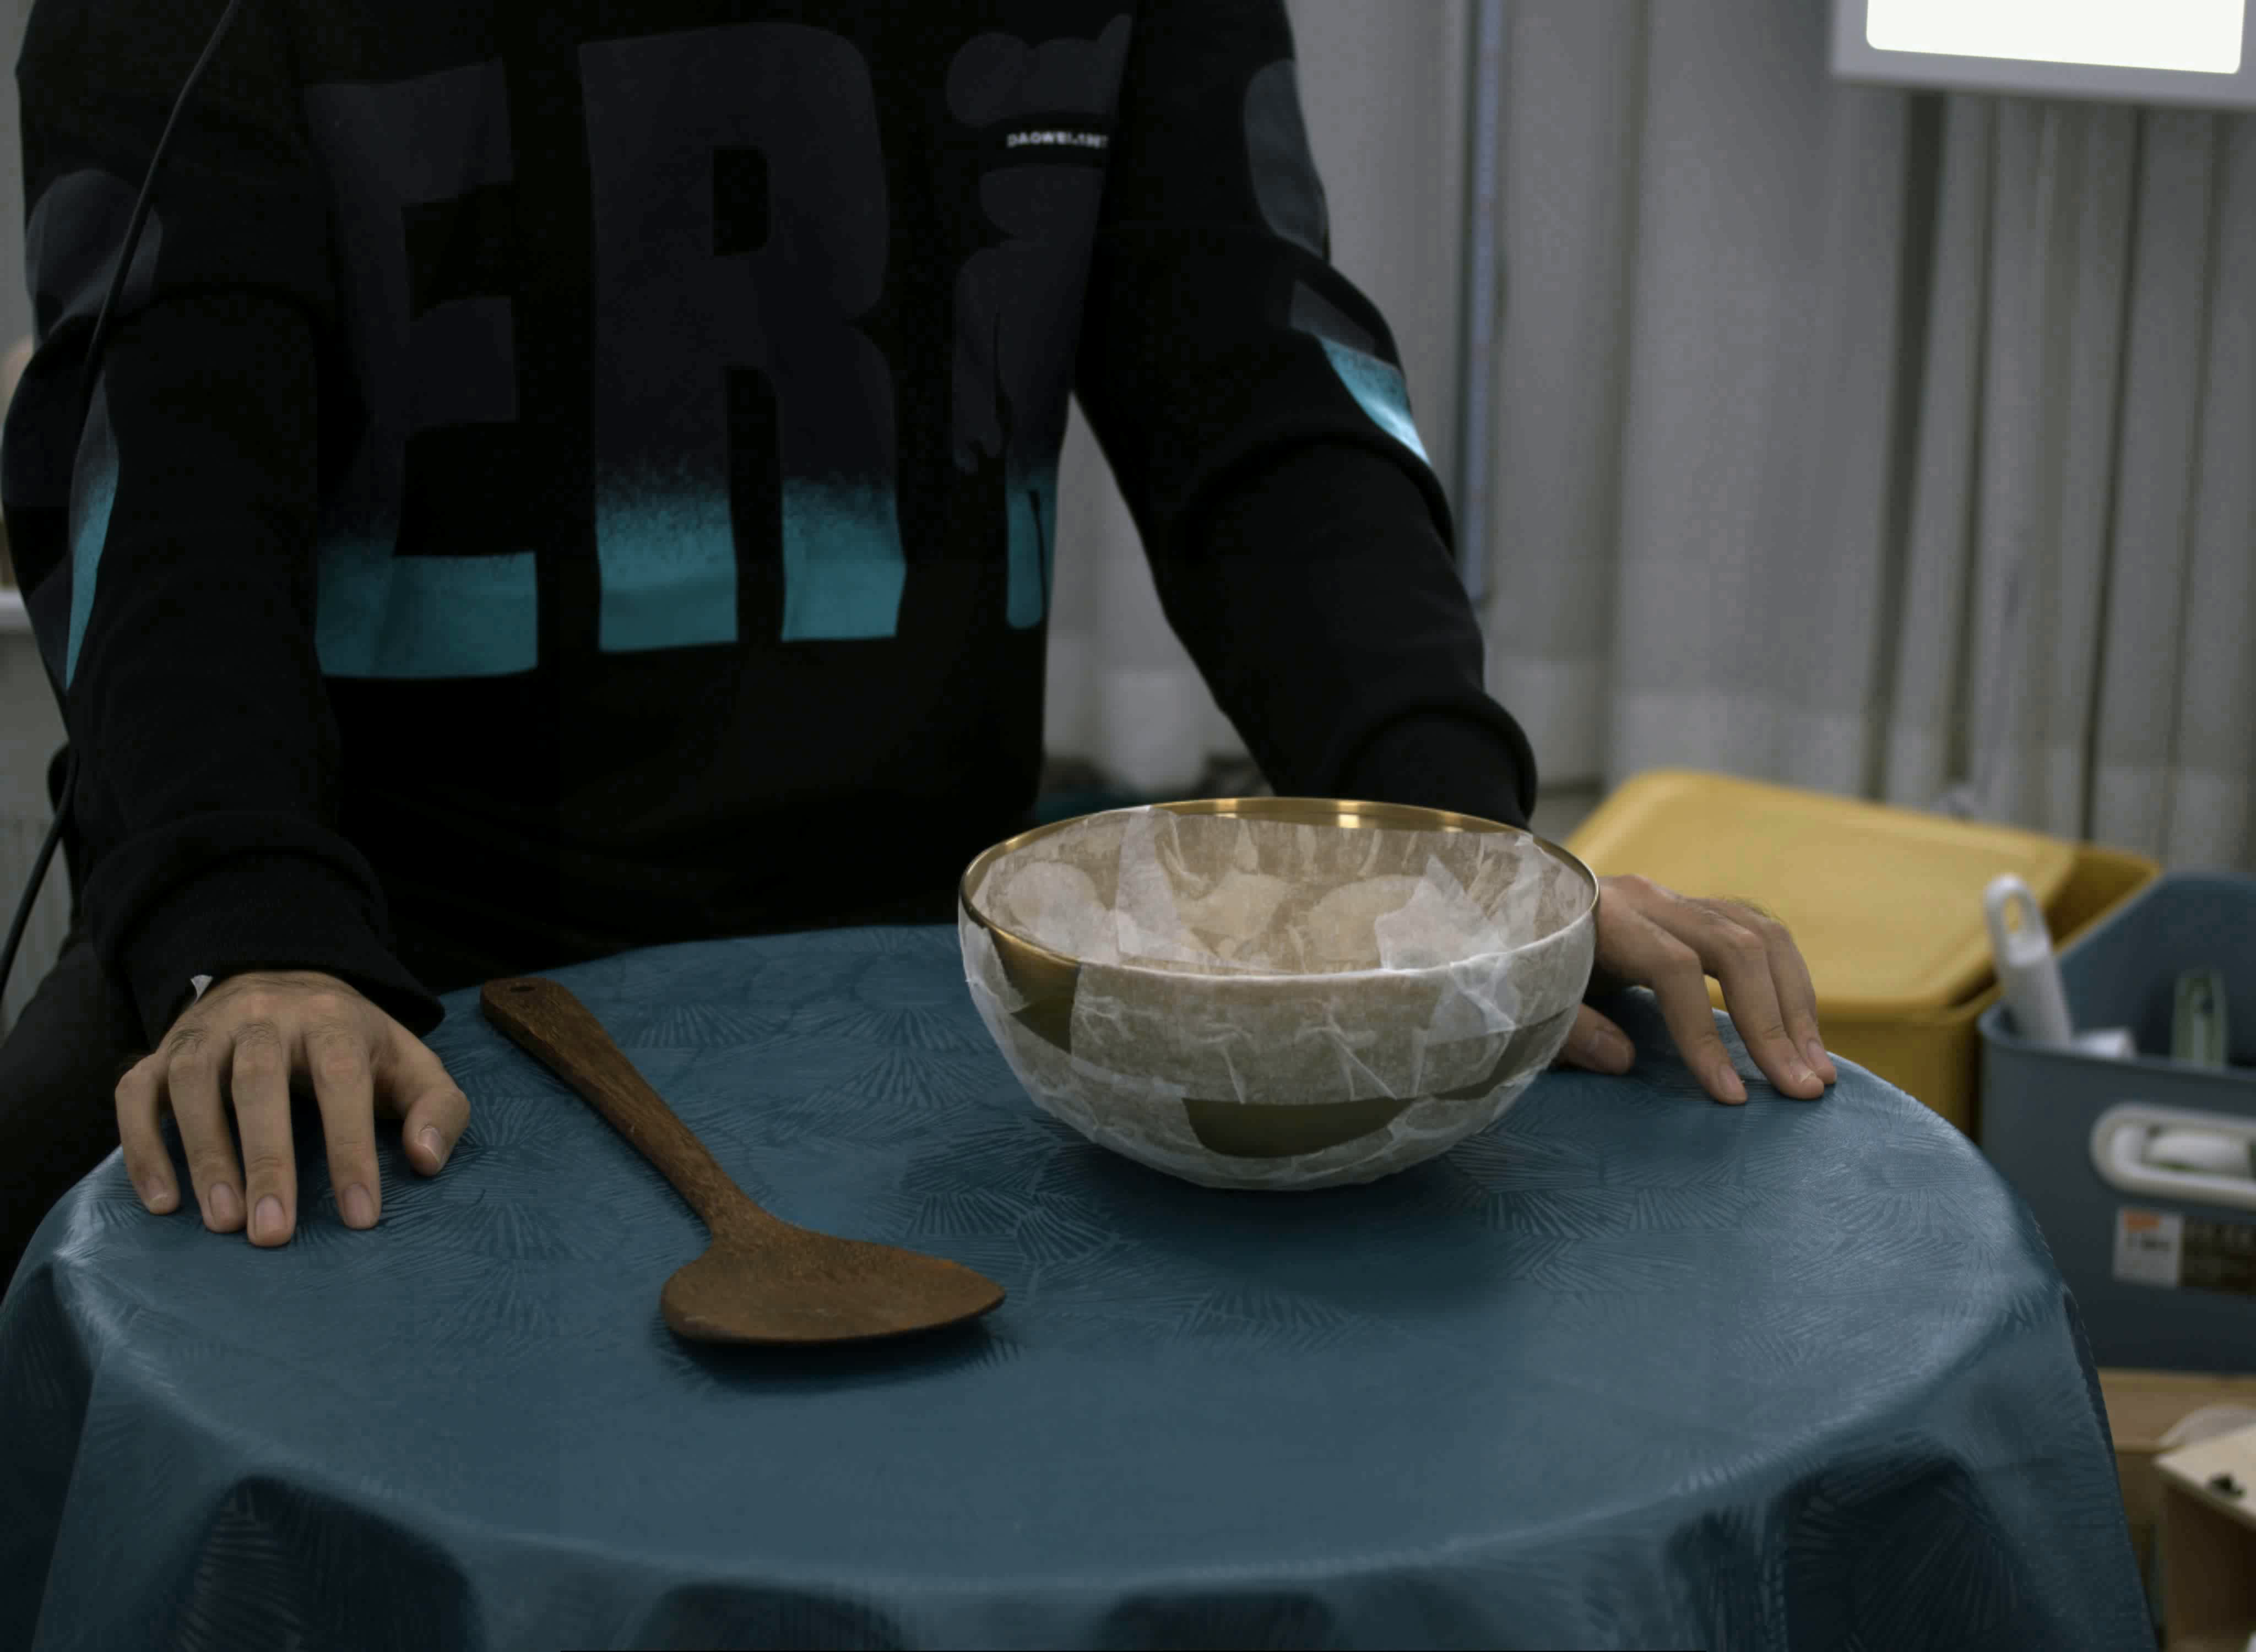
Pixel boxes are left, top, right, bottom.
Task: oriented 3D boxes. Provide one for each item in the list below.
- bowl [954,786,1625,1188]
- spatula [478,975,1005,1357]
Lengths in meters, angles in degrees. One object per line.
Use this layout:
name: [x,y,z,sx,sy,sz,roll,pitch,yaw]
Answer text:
bowl: [0.049,0.058,1.647,0.214,0.095,0.213,-1,16,1]
spatula: [-0.143,0.100,1.641,0.096,0.016,0.381,-5,17,-22]
